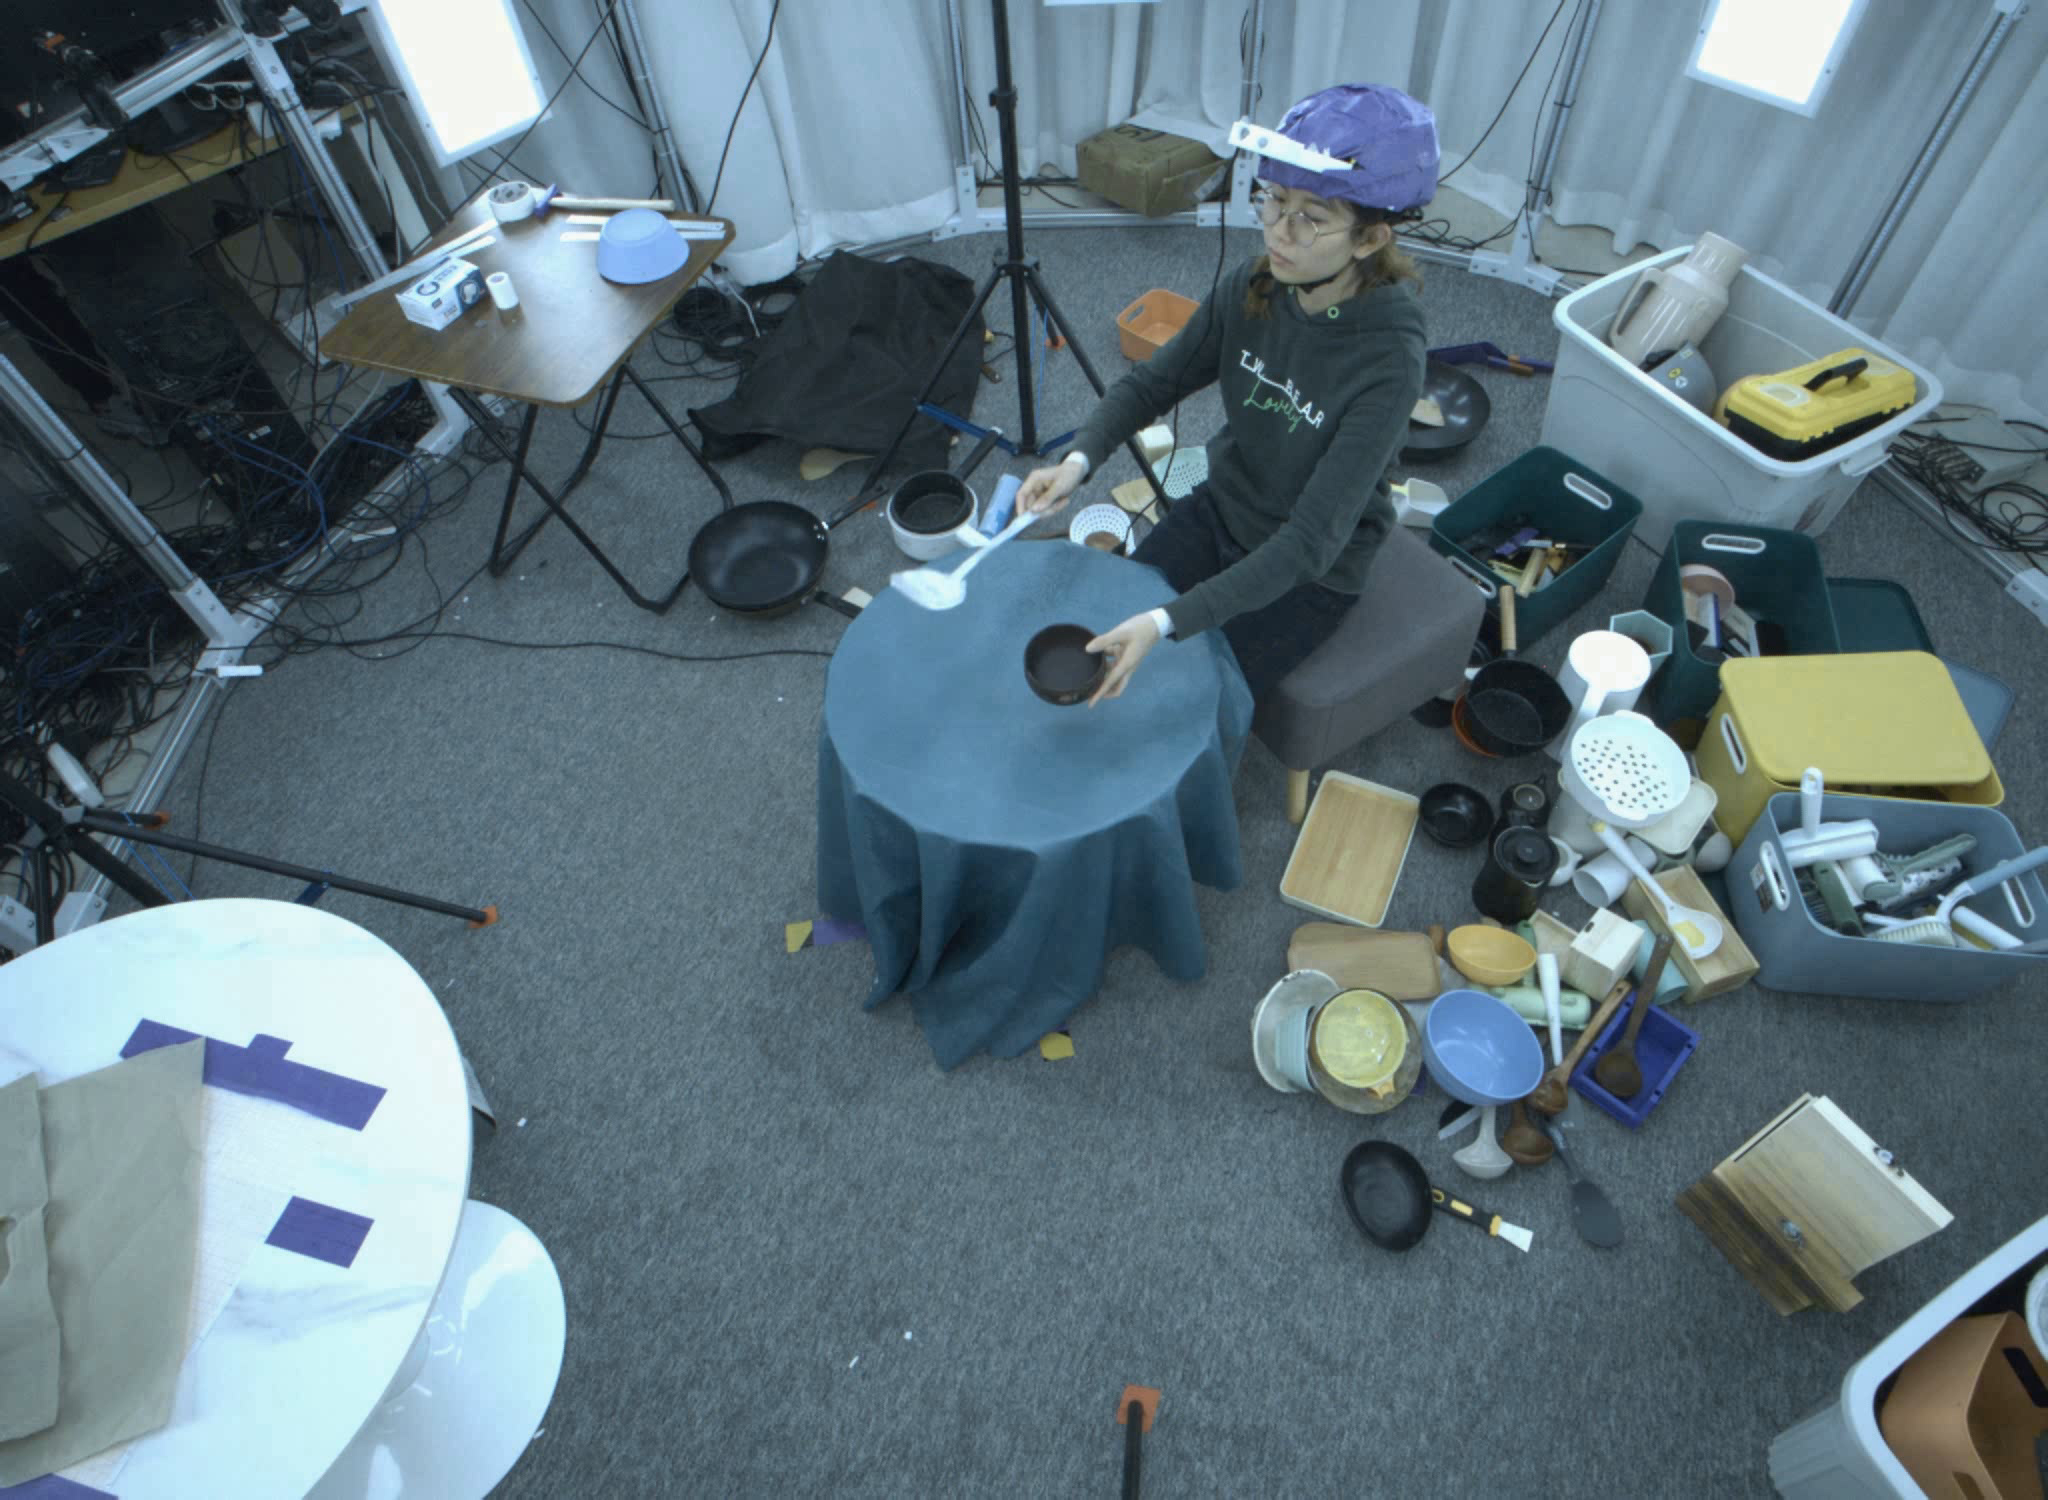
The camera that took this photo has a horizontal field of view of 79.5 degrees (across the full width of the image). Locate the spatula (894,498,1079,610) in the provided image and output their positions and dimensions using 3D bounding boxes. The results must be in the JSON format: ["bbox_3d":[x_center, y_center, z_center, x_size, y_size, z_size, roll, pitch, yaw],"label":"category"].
[{"bbox_3d":[-0.040,-0.301,1.797,0.097,0.045,0.368,36,57,20],"label":"spatula"}]

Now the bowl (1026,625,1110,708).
[{"bbox_3d":[0.062,-0.110,1.730,0.118,0.070,0.117,0,61,2],"label":"bowl"}]
